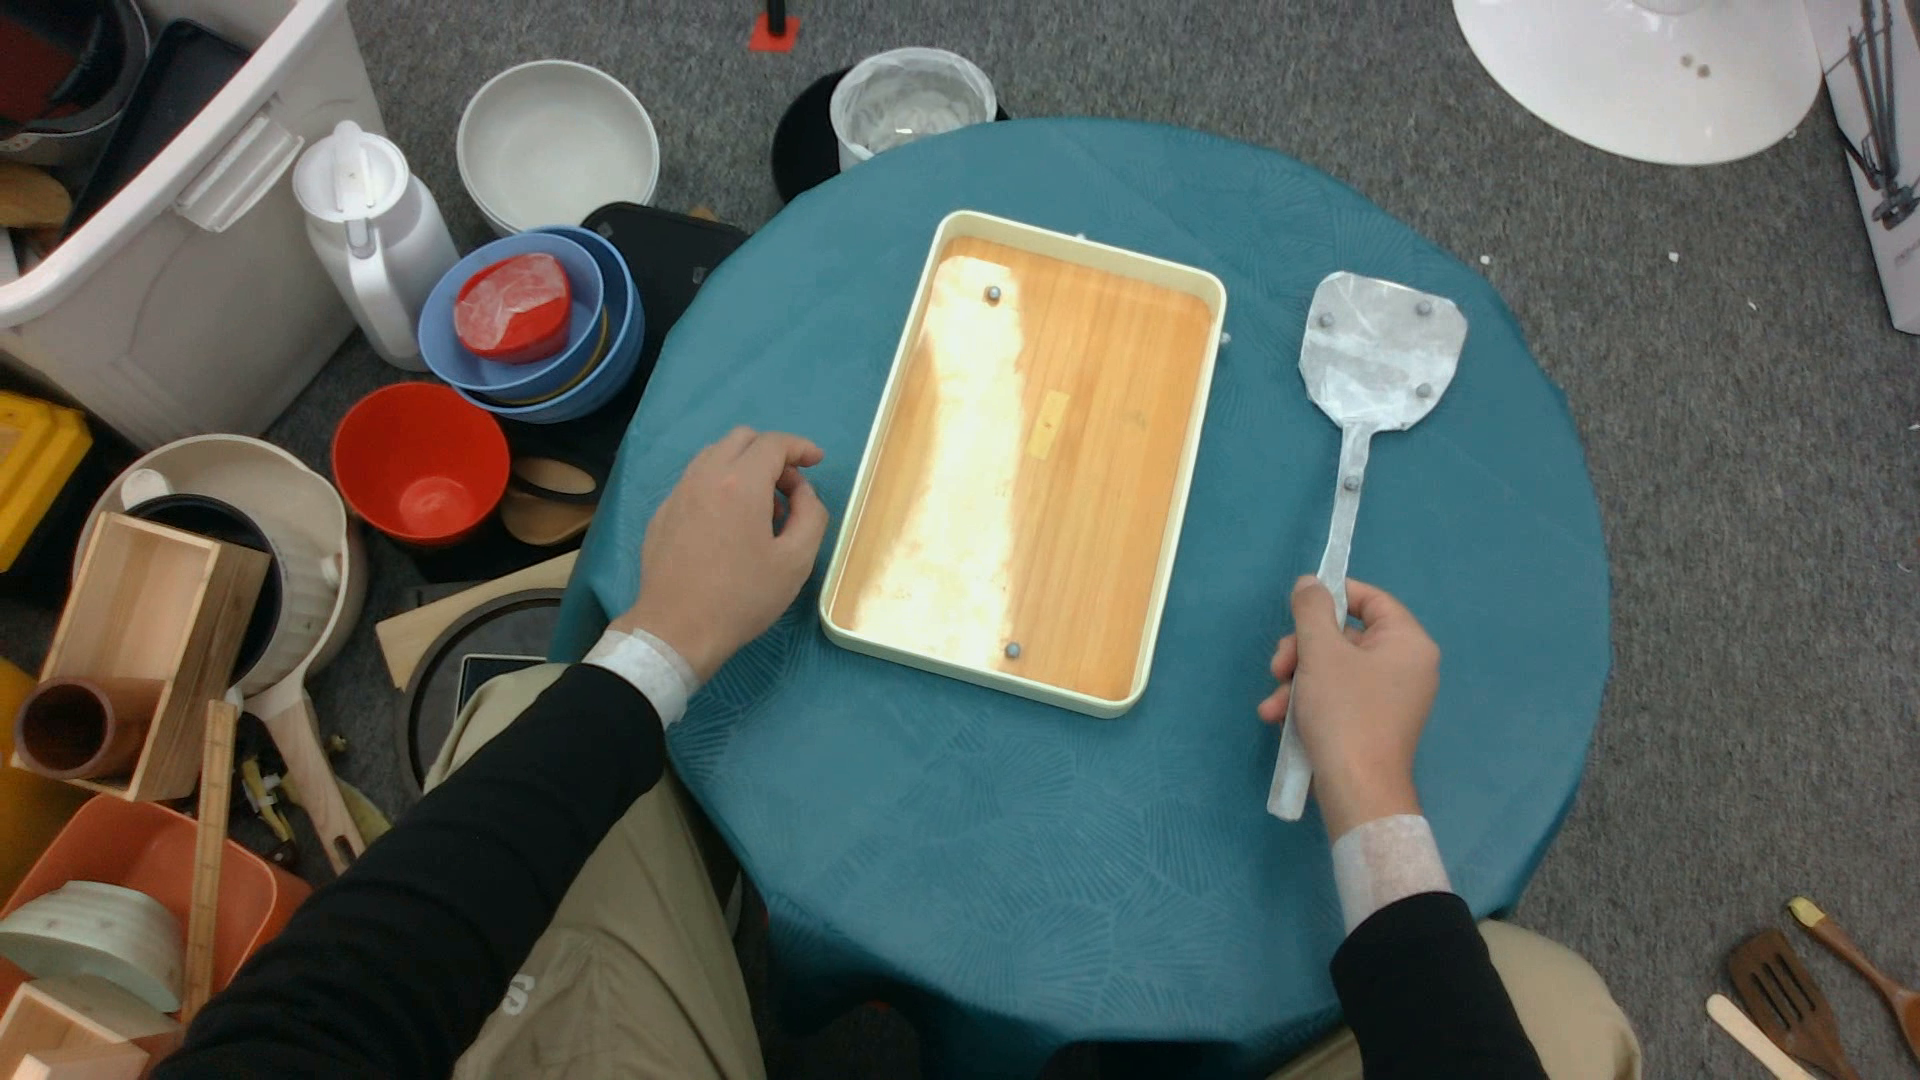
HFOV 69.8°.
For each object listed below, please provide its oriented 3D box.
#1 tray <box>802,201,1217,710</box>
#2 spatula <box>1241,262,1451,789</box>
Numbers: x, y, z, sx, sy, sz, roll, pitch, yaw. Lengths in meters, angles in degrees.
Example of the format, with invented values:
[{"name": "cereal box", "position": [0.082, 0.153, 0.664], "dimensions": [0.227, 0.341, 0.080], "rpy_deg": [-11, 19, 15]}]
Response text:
[{"name": "tray", "position": [0.036, -0.060, 0.827], "dimensions": [0.191, 0.027, 0.301], "rpy_deg": [16, 66, 2]}, {"name": "spatula", "position": [0.215, -0.020, 0.803], "dimensions": [0.098, 0.044, 0.366], "rpy_deg": [18, 56, 6]}]
